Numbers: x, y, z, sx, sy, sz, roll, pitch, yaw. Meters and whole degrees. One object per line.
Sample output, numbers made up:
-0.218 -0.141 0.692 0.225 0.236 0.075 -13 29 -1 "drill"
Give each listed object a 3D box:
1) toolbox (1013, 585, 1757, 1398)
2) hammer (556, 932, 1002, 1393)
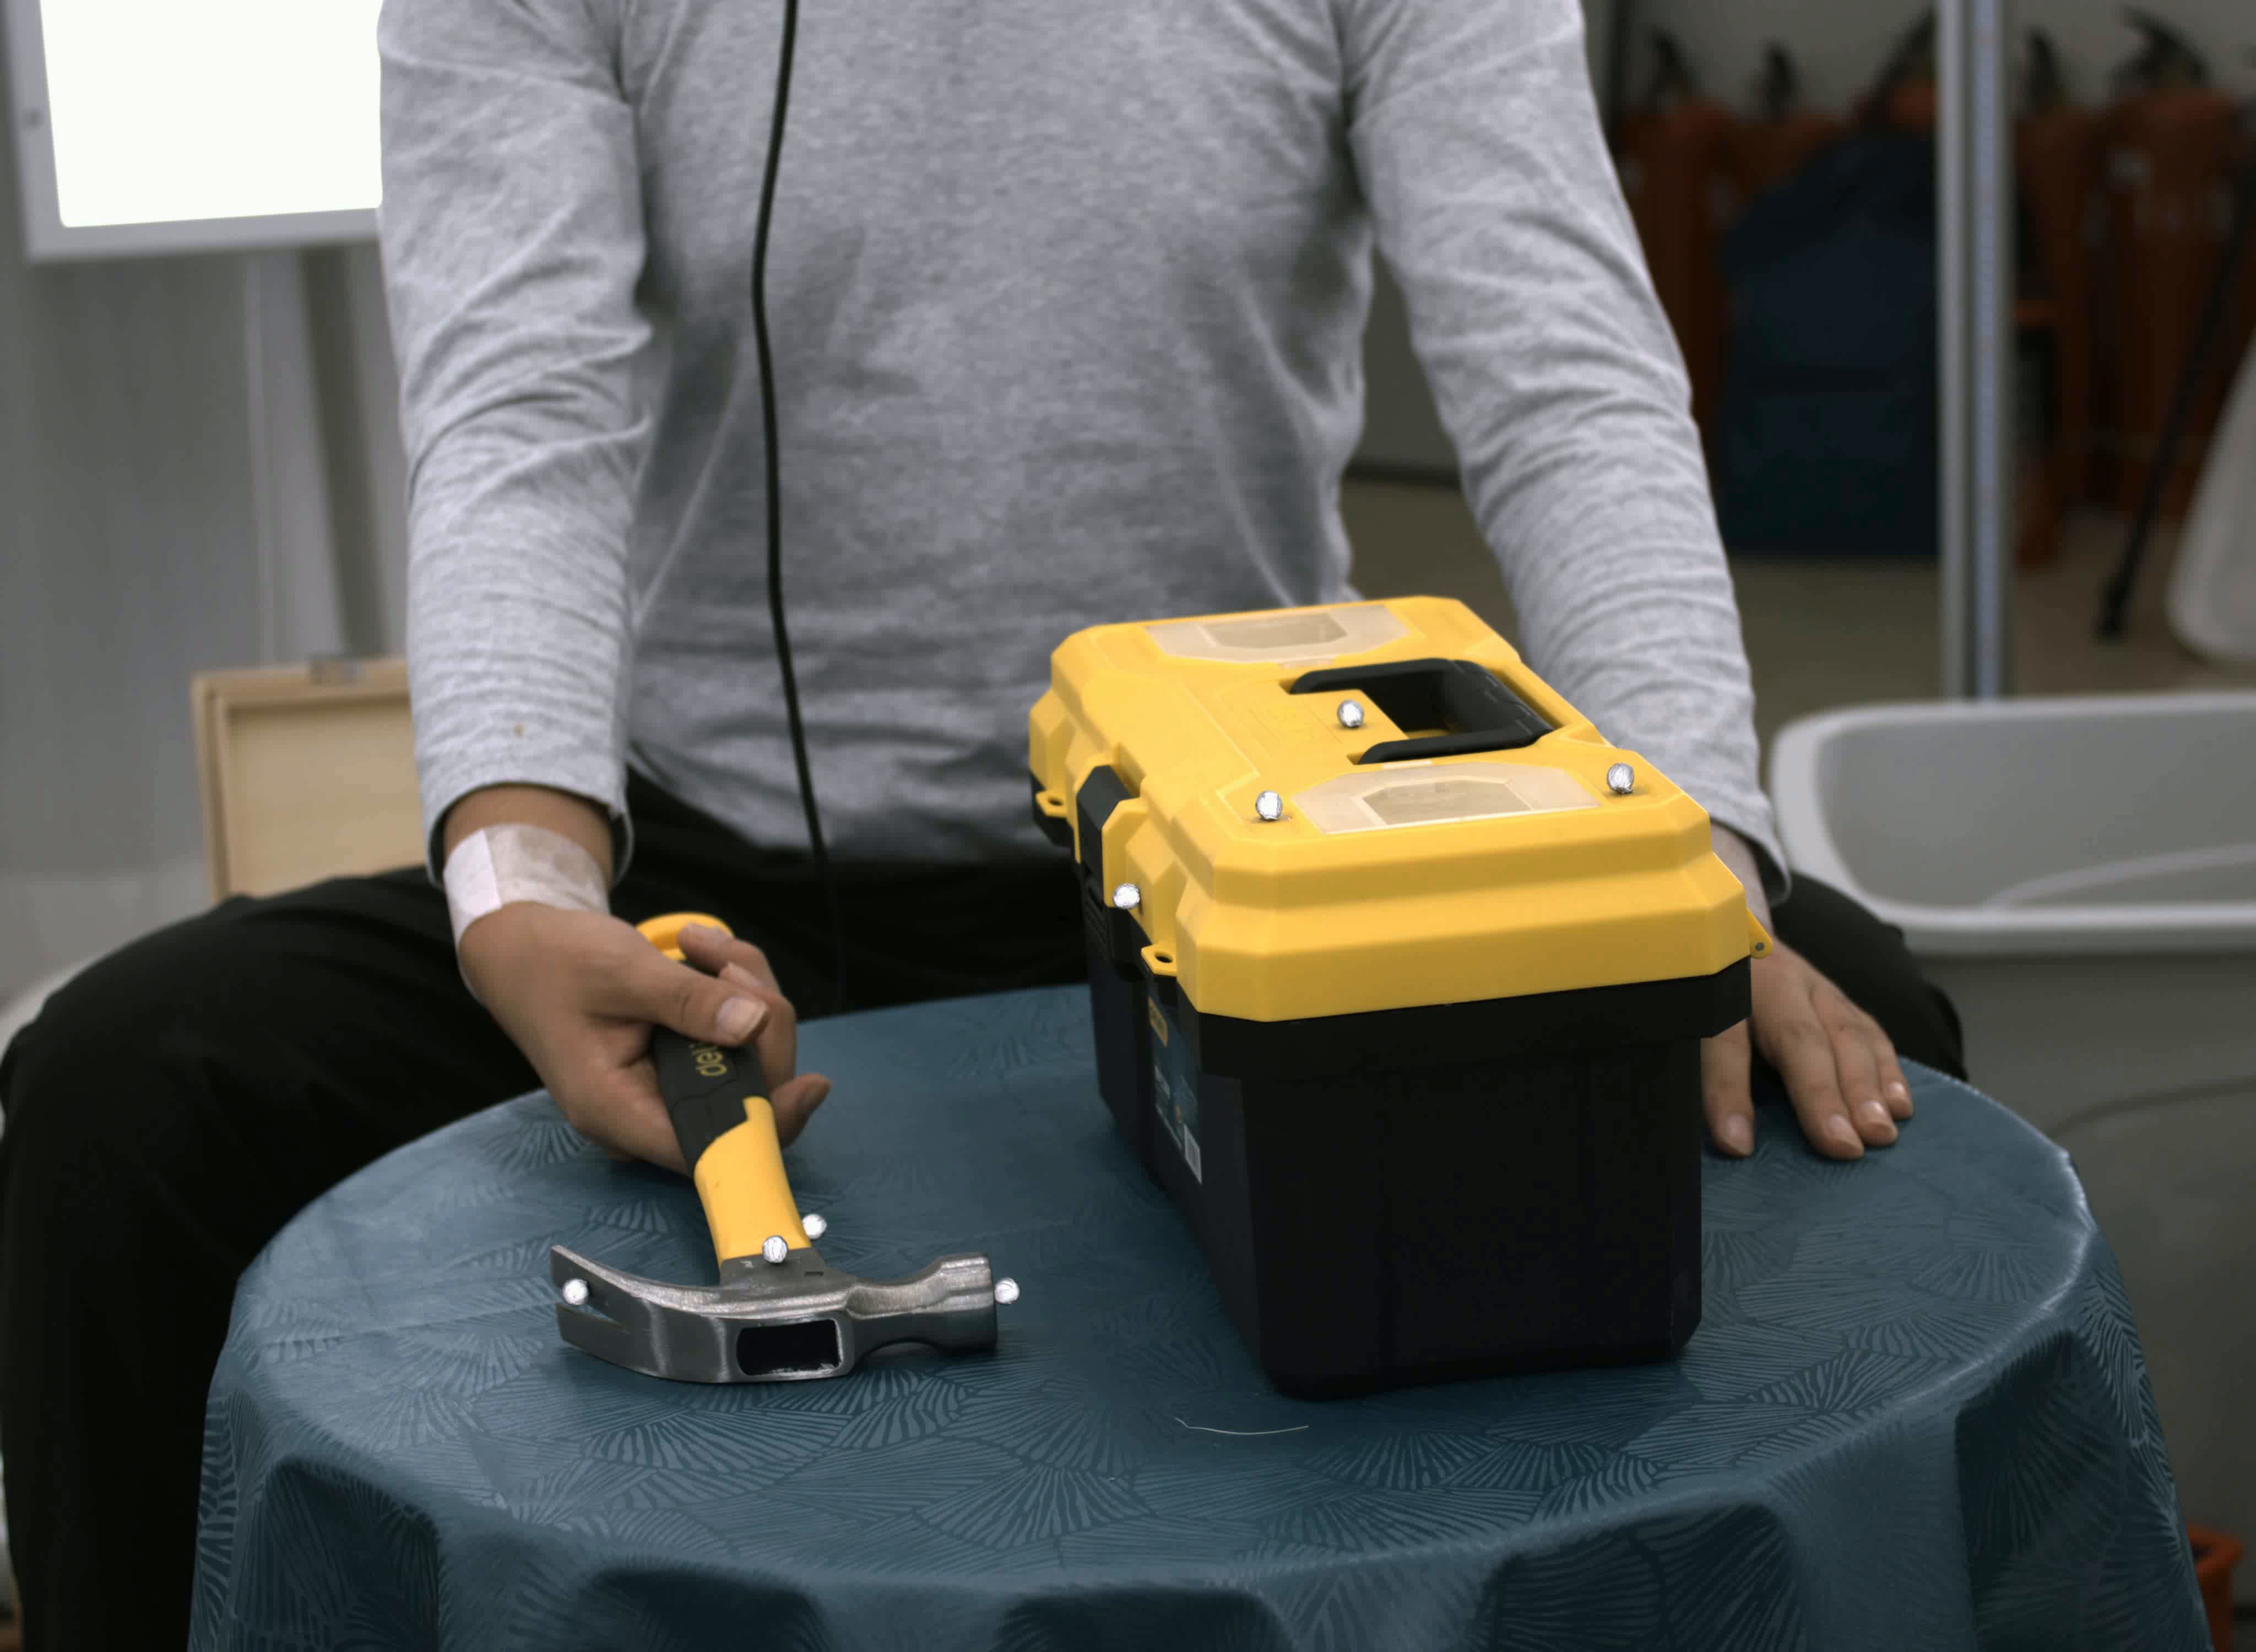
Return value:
0.075 0.044 1.701 0.178 0.175 0.353 -6 14 -8 "toolbox"
-0.129 0.102 1.766 0.129 0.032 0.340 -9 20 -7 "hammer"
